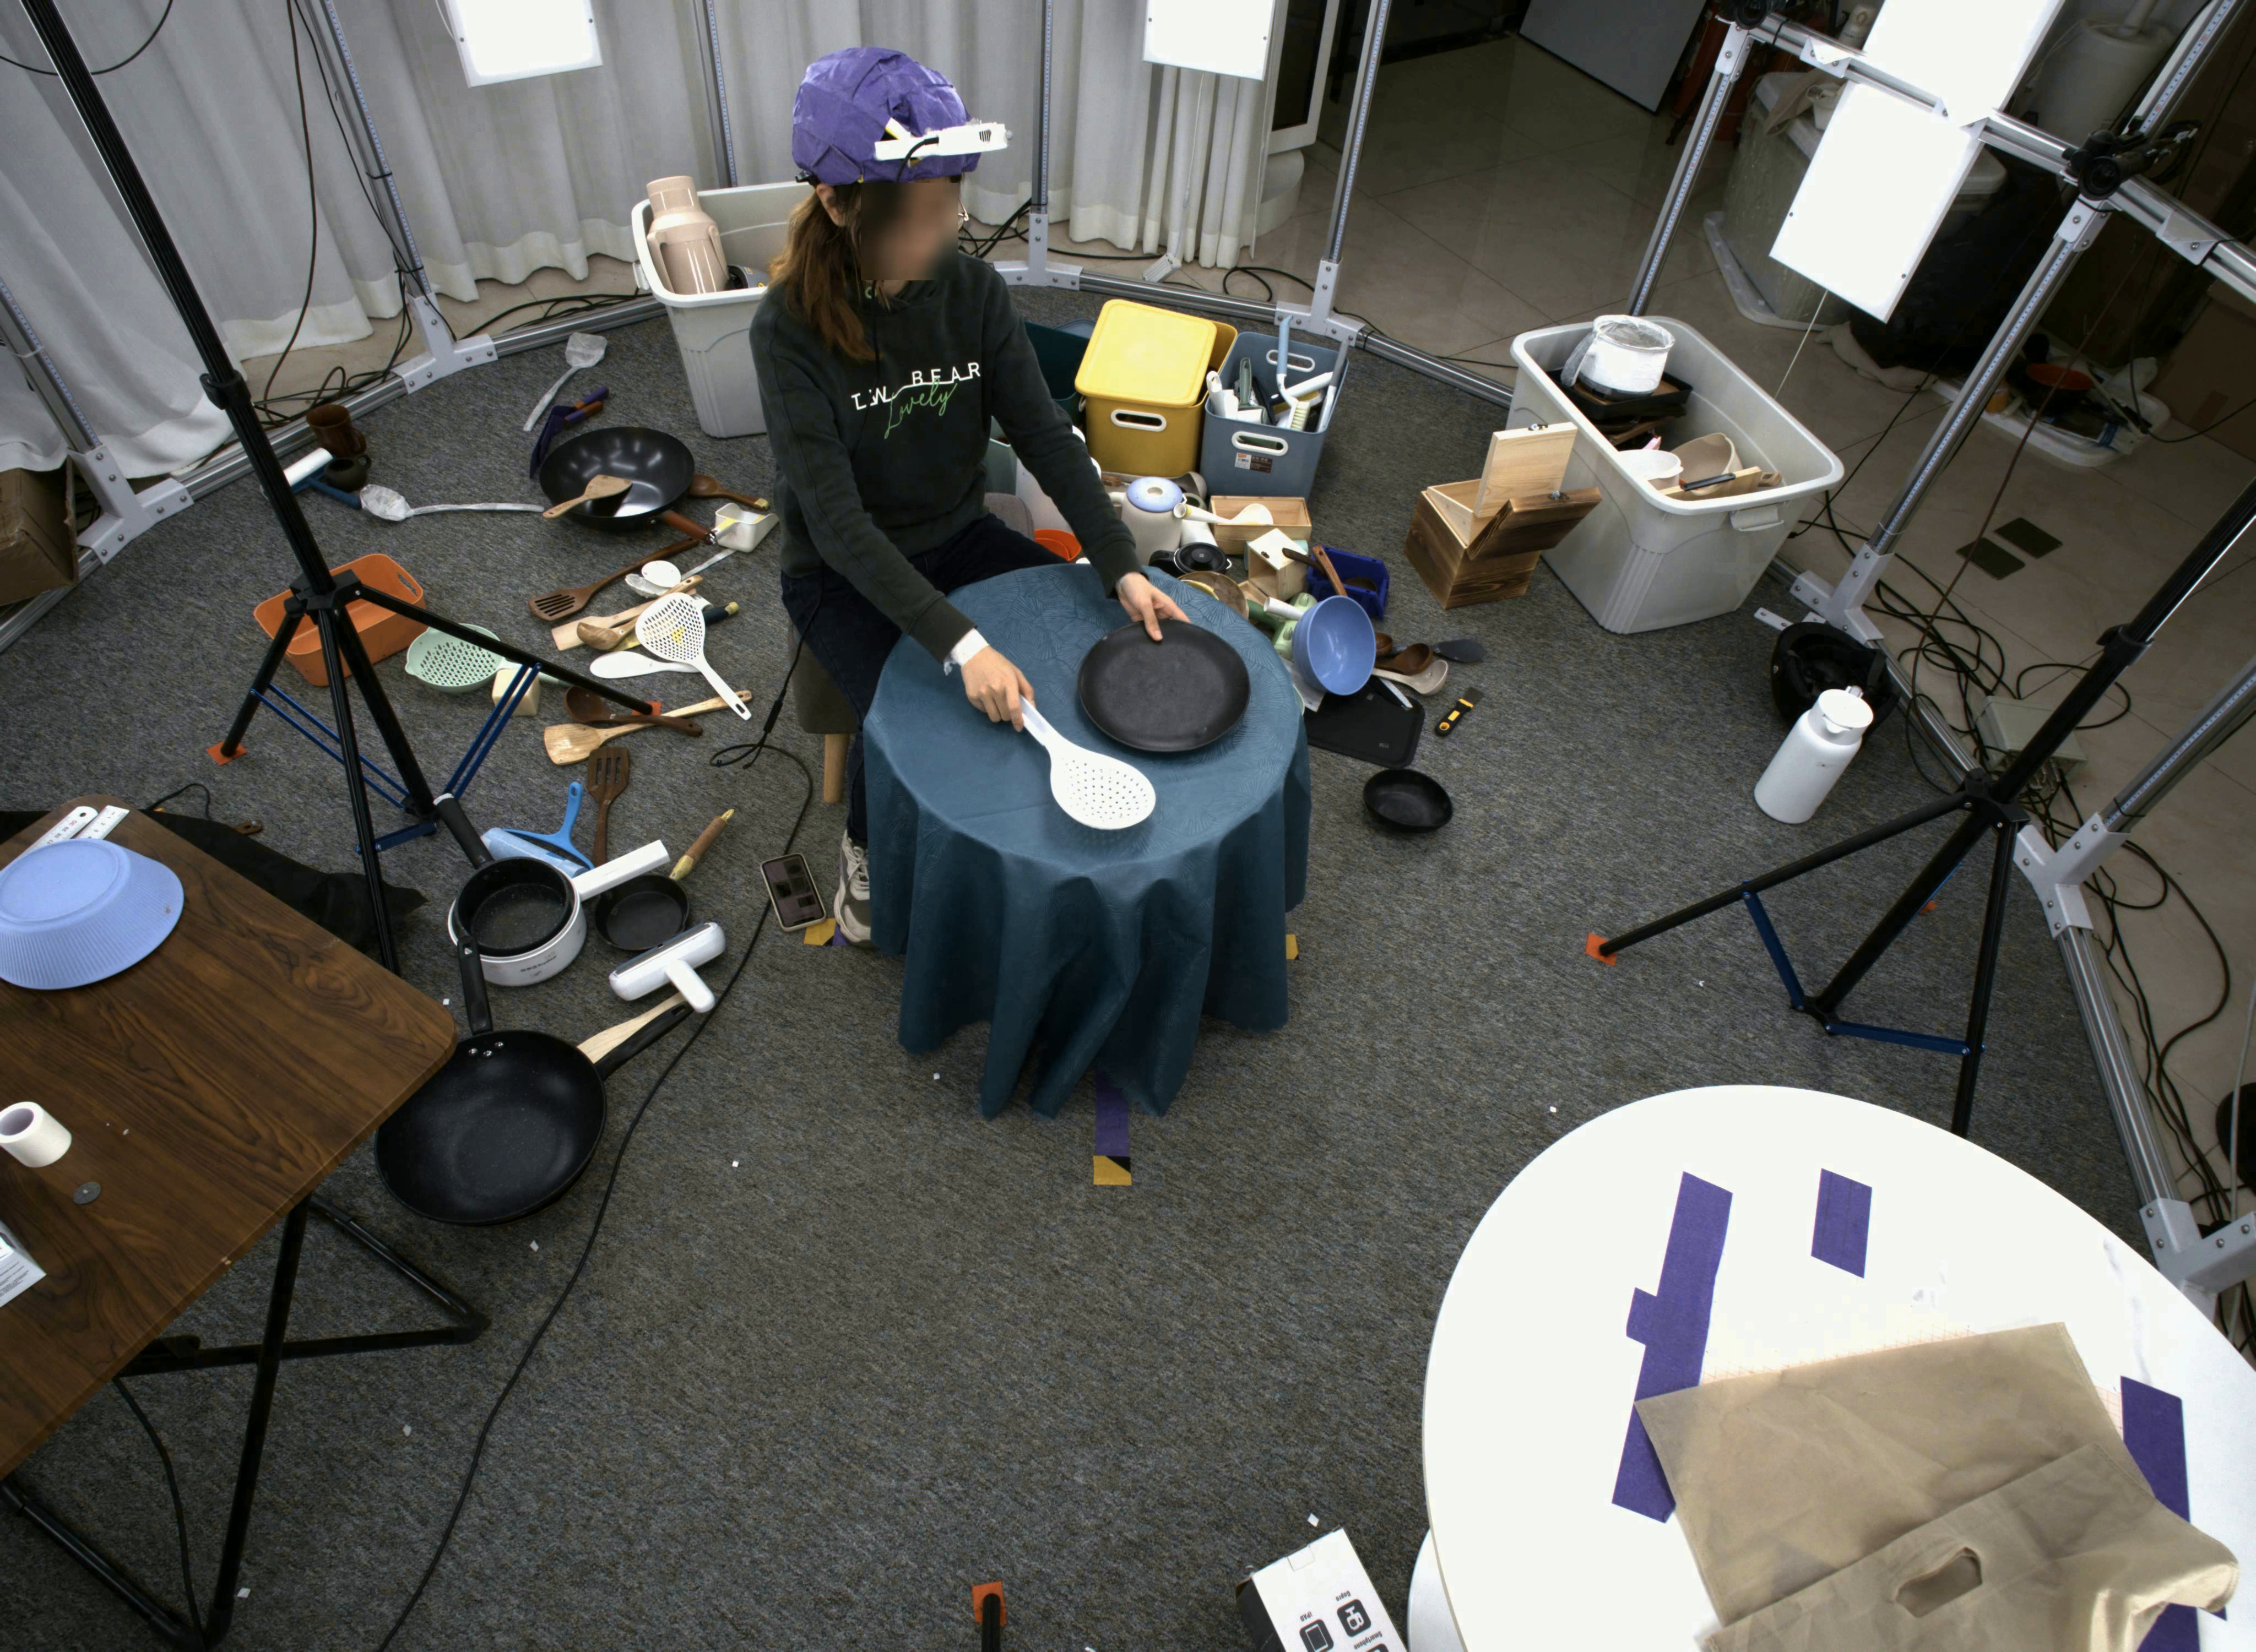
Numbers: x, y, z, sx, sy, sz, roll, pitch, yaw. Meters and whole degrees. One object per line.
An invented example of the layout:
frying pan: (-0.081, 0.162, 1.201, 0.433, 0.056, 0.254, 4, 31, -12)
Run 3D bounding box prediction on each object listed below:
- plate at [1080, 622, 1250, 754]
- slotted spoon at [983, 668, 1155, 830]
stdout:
plate: (0.052, -0.196, 1.831, 0.244, 0.023, 0.250, 1, 54, -1)
slotted spoon: (-0.096, -0.108, 1.731, 0.136, 0.045, 0.356, -19, 55, -33)
